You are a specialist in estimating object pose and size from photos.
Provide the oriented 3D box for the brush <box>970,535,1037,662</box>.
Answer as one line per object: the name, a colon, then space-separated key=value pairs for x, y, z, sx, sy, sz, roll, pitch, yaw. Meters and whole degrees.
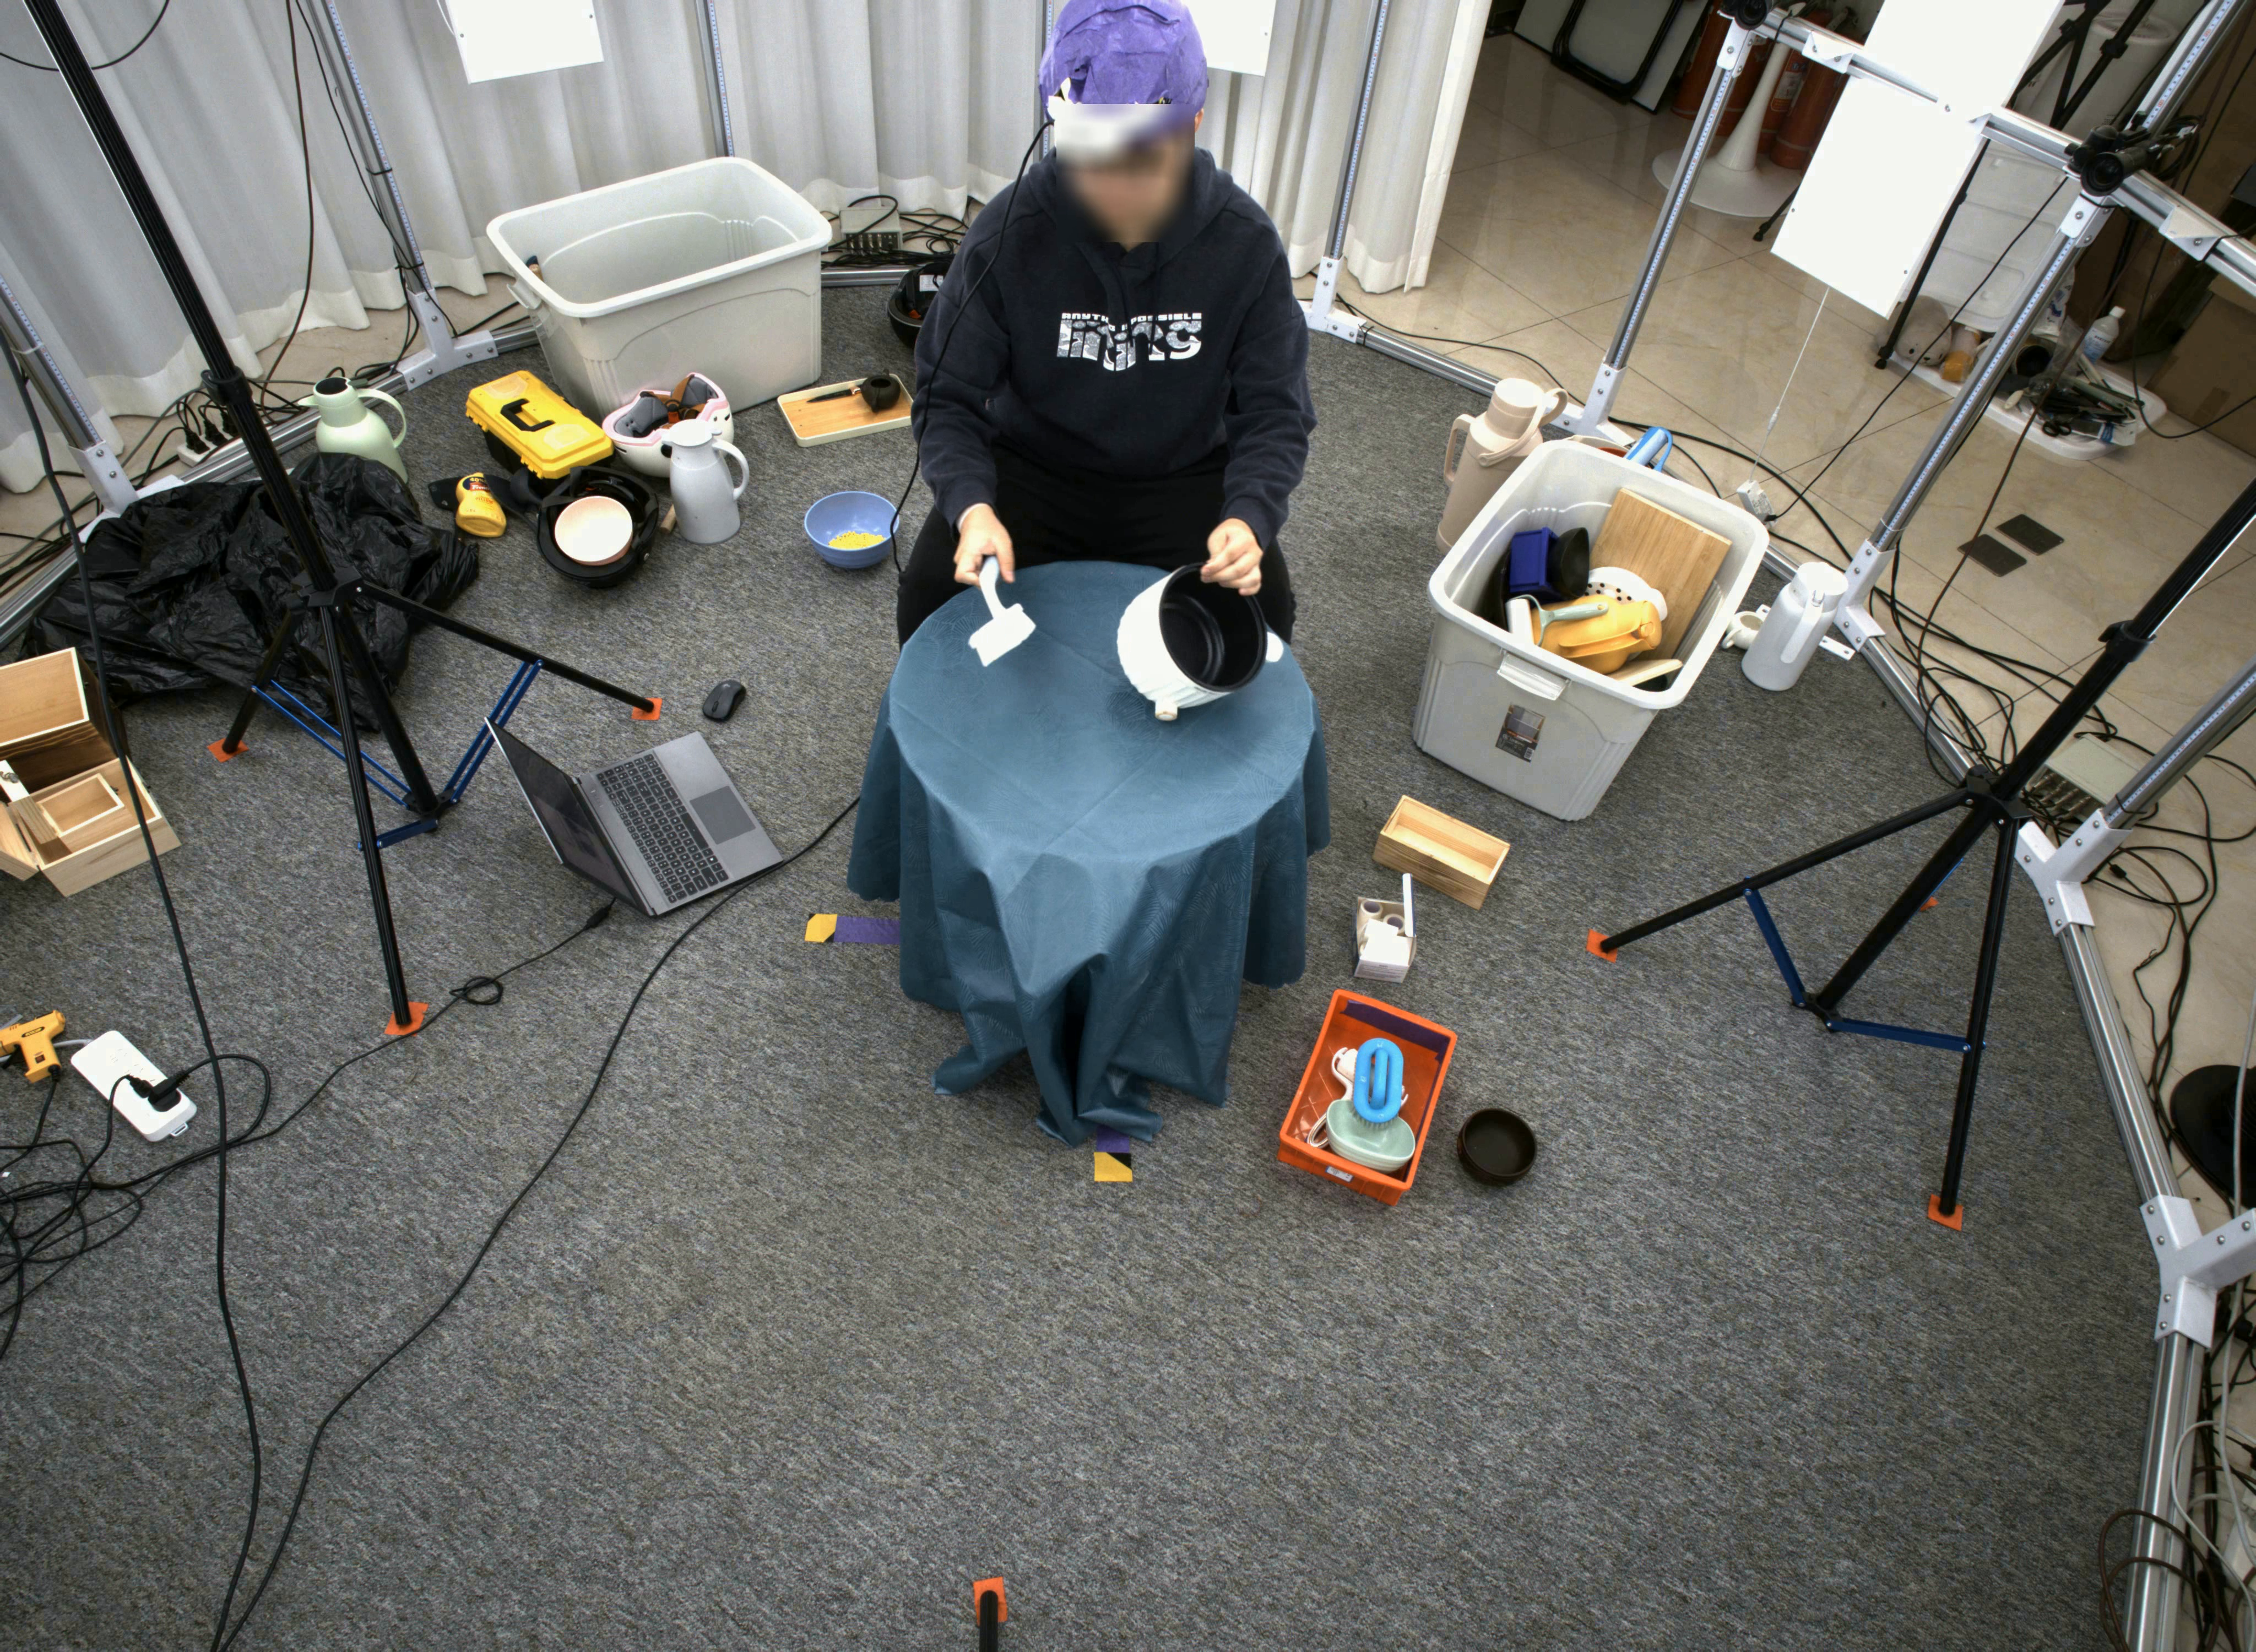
brush: x=-0.162 y=-0.307 z=1.765 sx=0.083 sy=0.083 sz=0.333 roll=2 pitch=32 yaw=-2

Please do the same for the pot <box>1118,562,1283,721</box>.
pot: x=0.083 y=-0.250 z=1.771 sx=0.238 sy=0.142 sz=0.193 roll=13 pitch=69 yaw=-30
